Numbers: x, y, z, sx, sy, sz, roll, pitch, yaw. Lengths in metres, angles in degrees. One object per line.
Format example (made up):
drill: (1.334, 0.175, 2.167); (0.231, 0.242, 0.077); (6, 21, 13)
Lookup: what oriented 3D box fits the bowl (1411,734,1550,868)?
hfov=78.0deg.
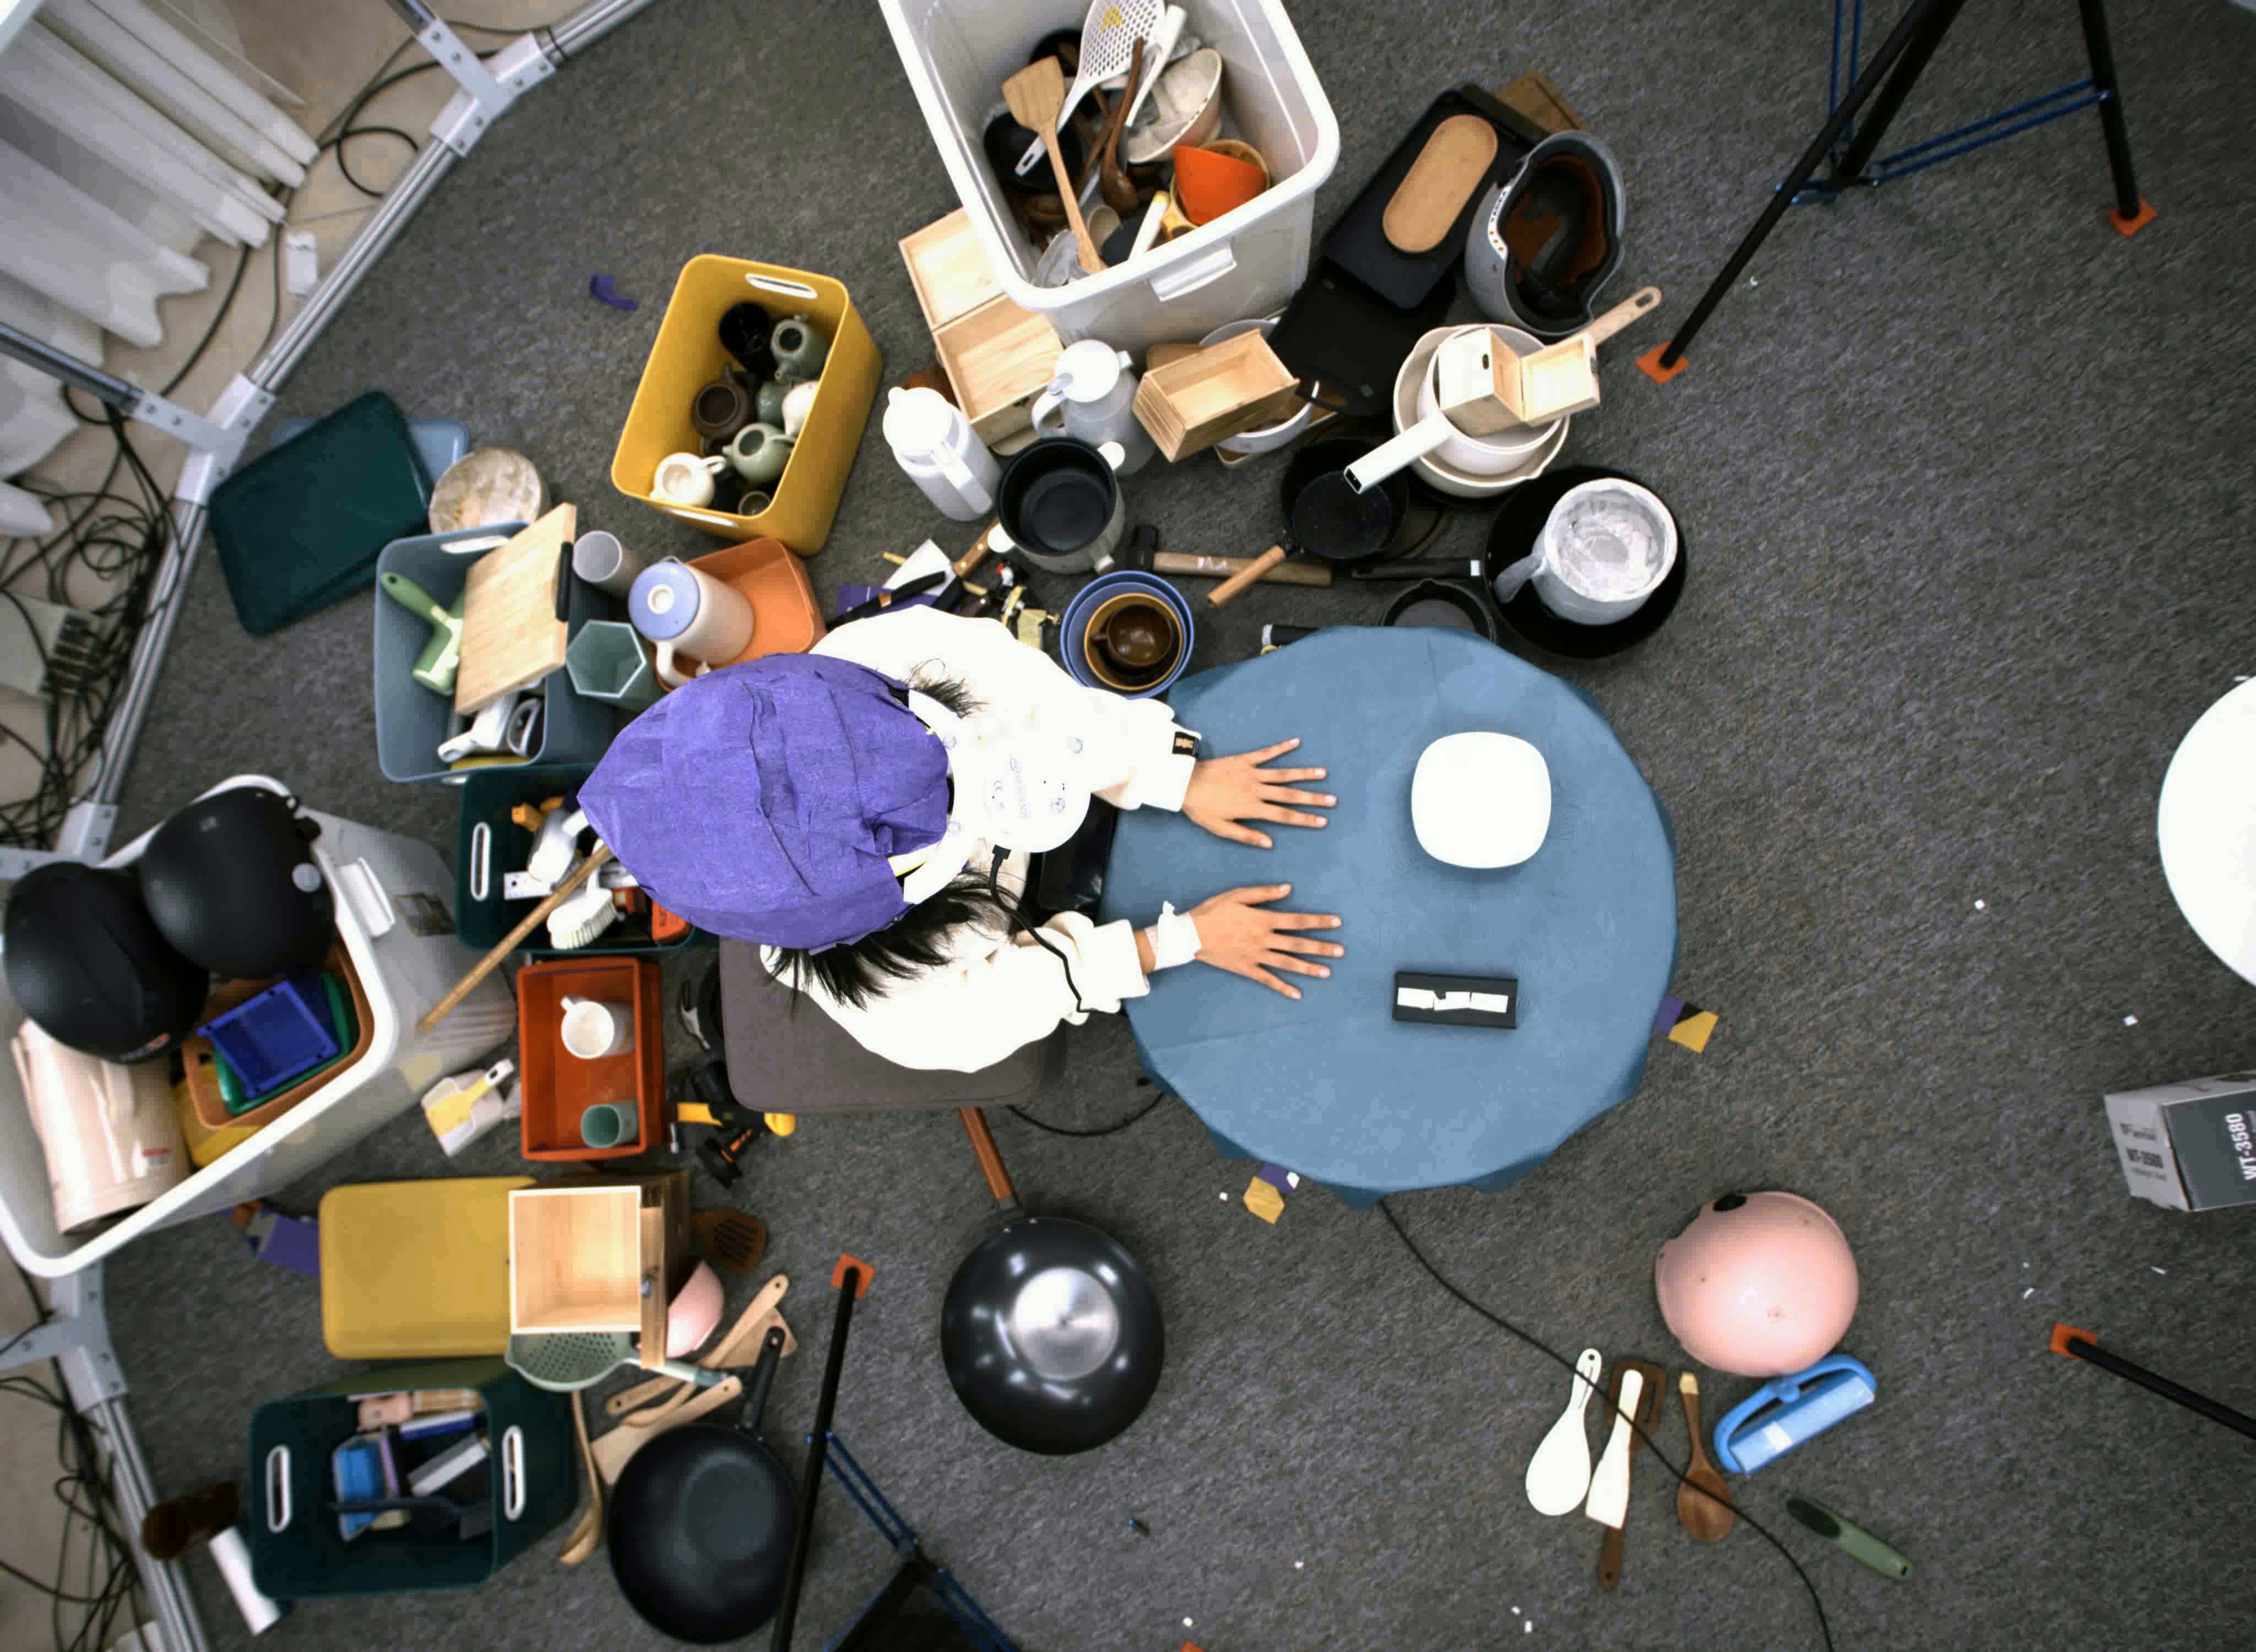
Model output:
bowl: (0.362, -0.024, 1.420); (0.152, 0.059, 0.150); (-1, 83, 10)

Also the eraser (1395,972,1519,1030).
eraser: (0.340, 0.179, 1.428); (0.126, 0.030, 0.053); (1, 84, 13)
